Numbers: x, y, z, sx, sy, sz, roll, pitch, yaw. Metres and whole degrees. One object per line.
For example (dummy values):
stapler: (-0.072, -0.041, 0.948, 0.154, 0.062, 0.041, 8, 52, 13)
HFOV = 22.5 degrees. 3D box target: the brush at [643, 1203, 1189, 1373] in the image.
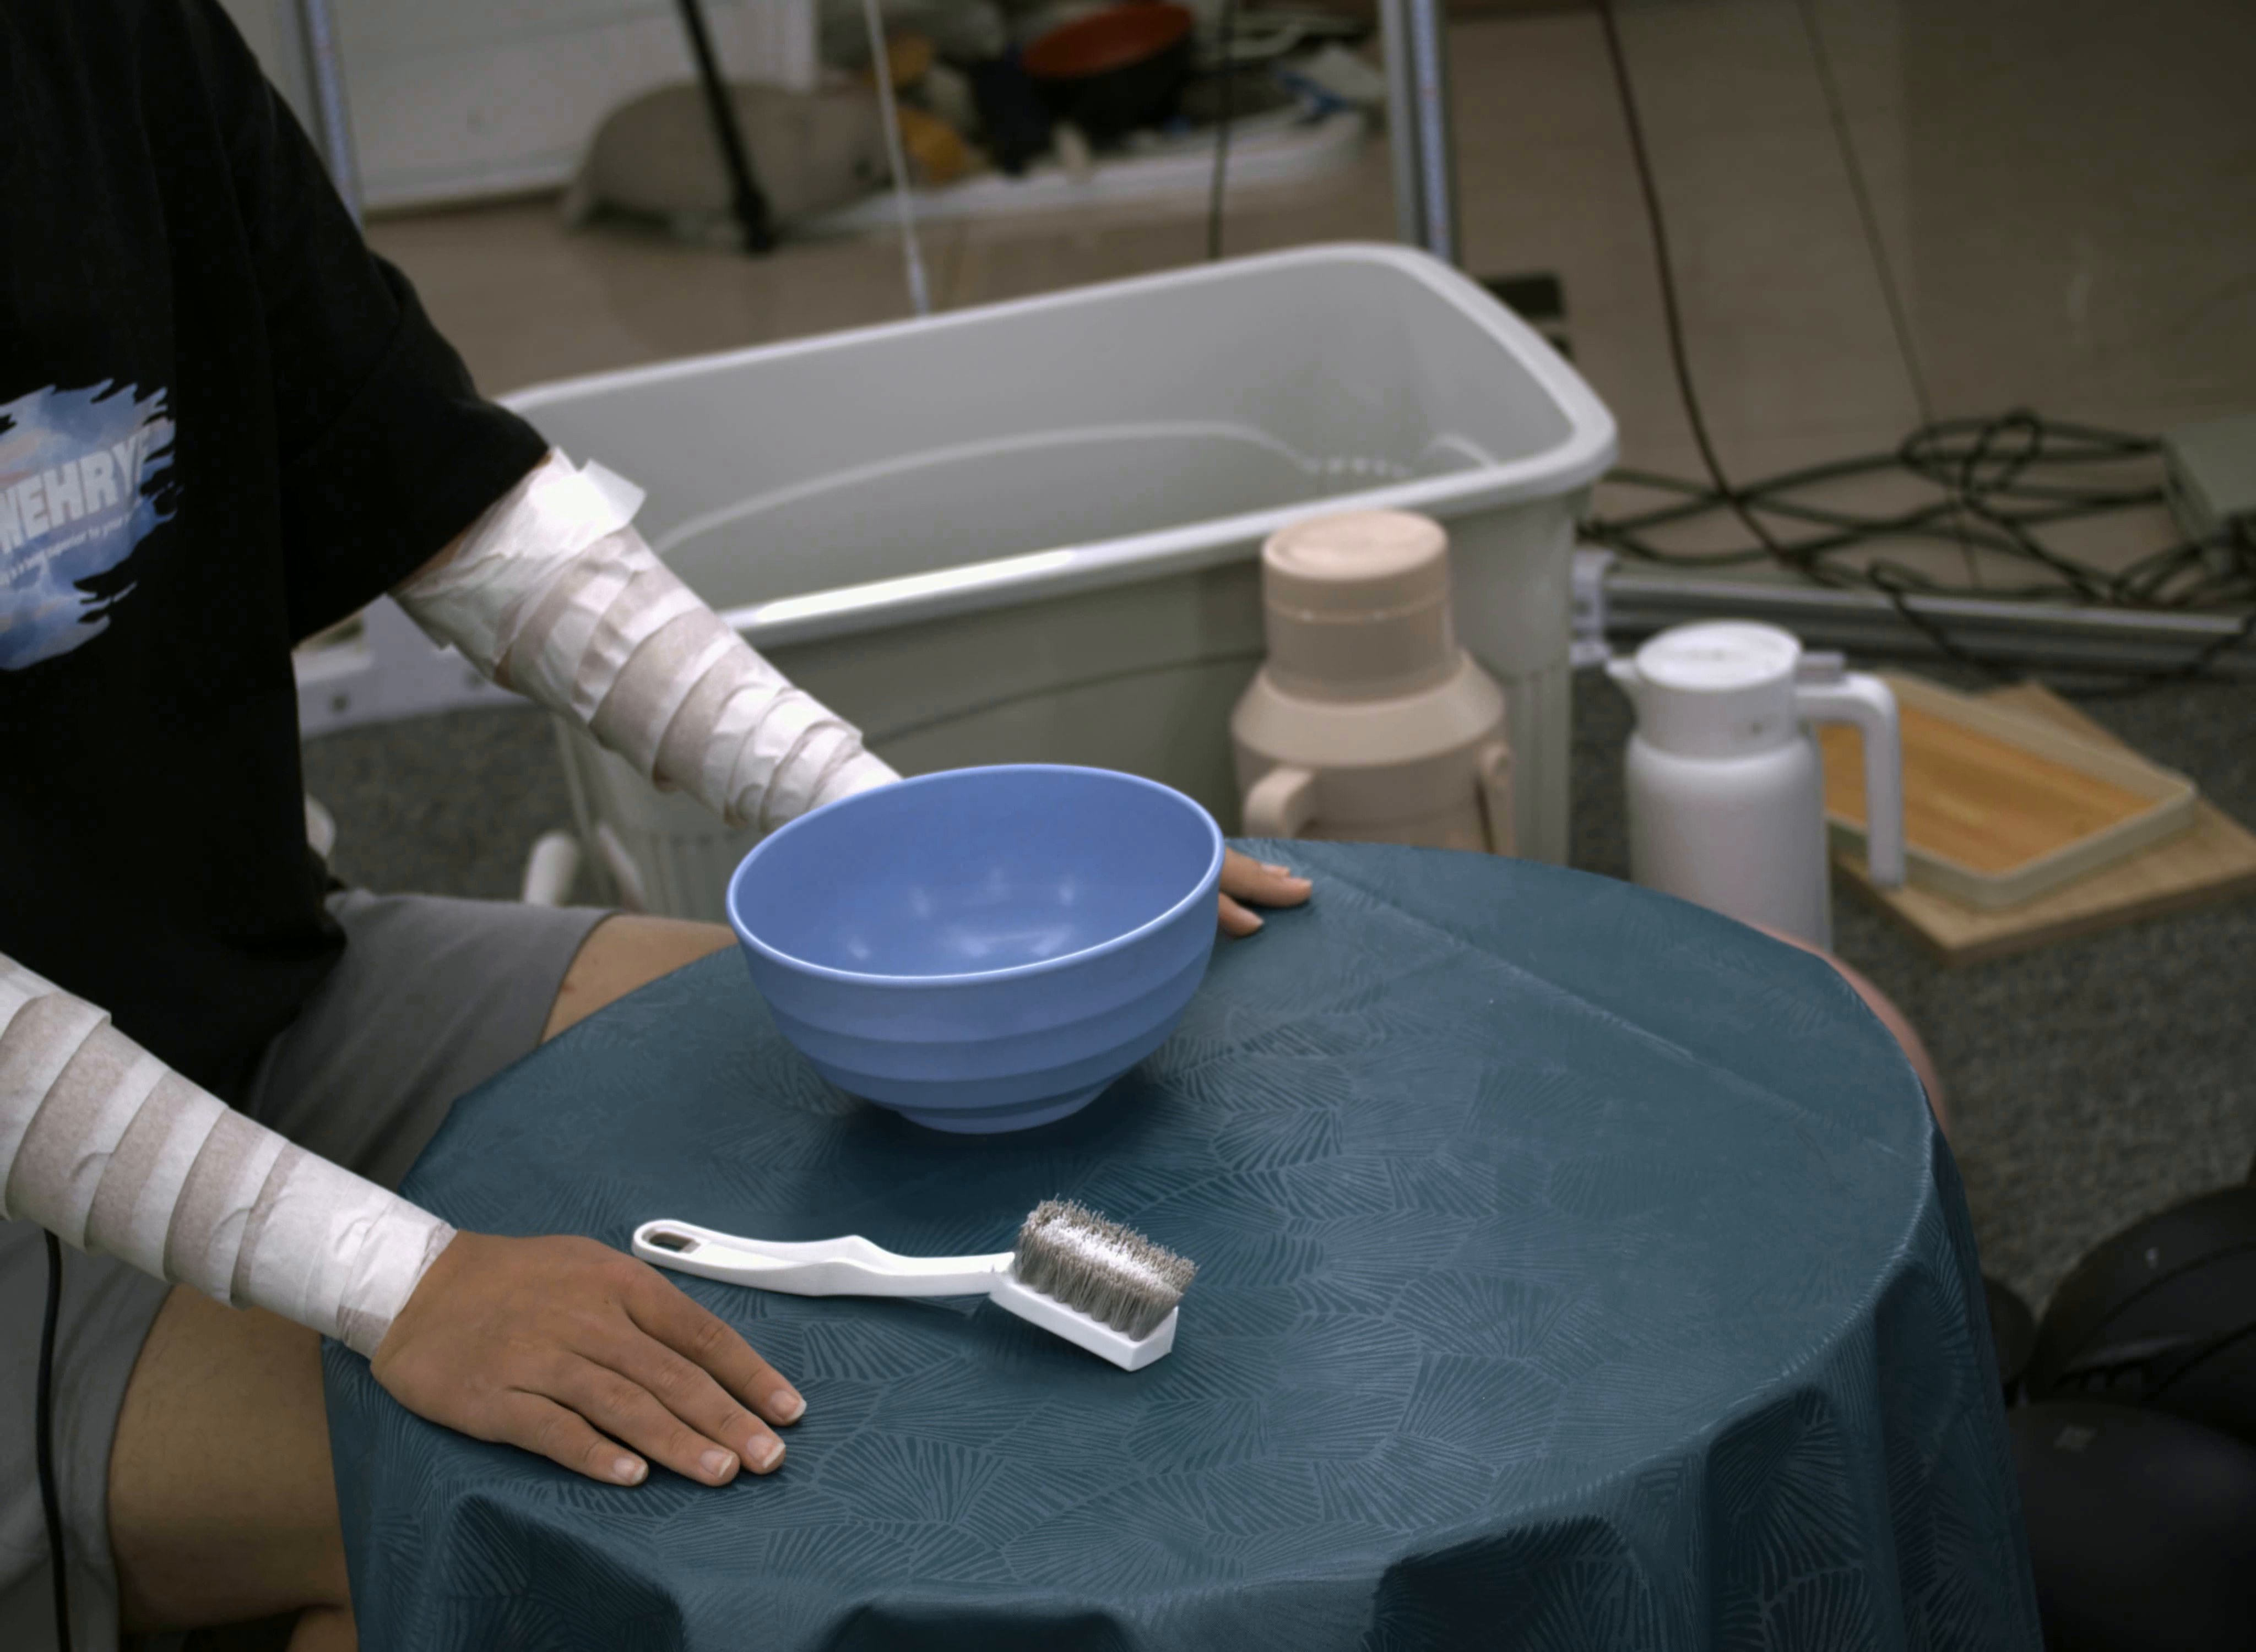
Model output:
brush: (-0.083, 0.152, 2.081, 0.242, 0.051, 0.034, 11, 33, 33)

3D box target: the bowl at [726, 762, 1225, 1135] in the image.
bowl: (-0.054, 0.058, 2.223, 0.196, 0.097, 0.193, -6, 26, 3)
